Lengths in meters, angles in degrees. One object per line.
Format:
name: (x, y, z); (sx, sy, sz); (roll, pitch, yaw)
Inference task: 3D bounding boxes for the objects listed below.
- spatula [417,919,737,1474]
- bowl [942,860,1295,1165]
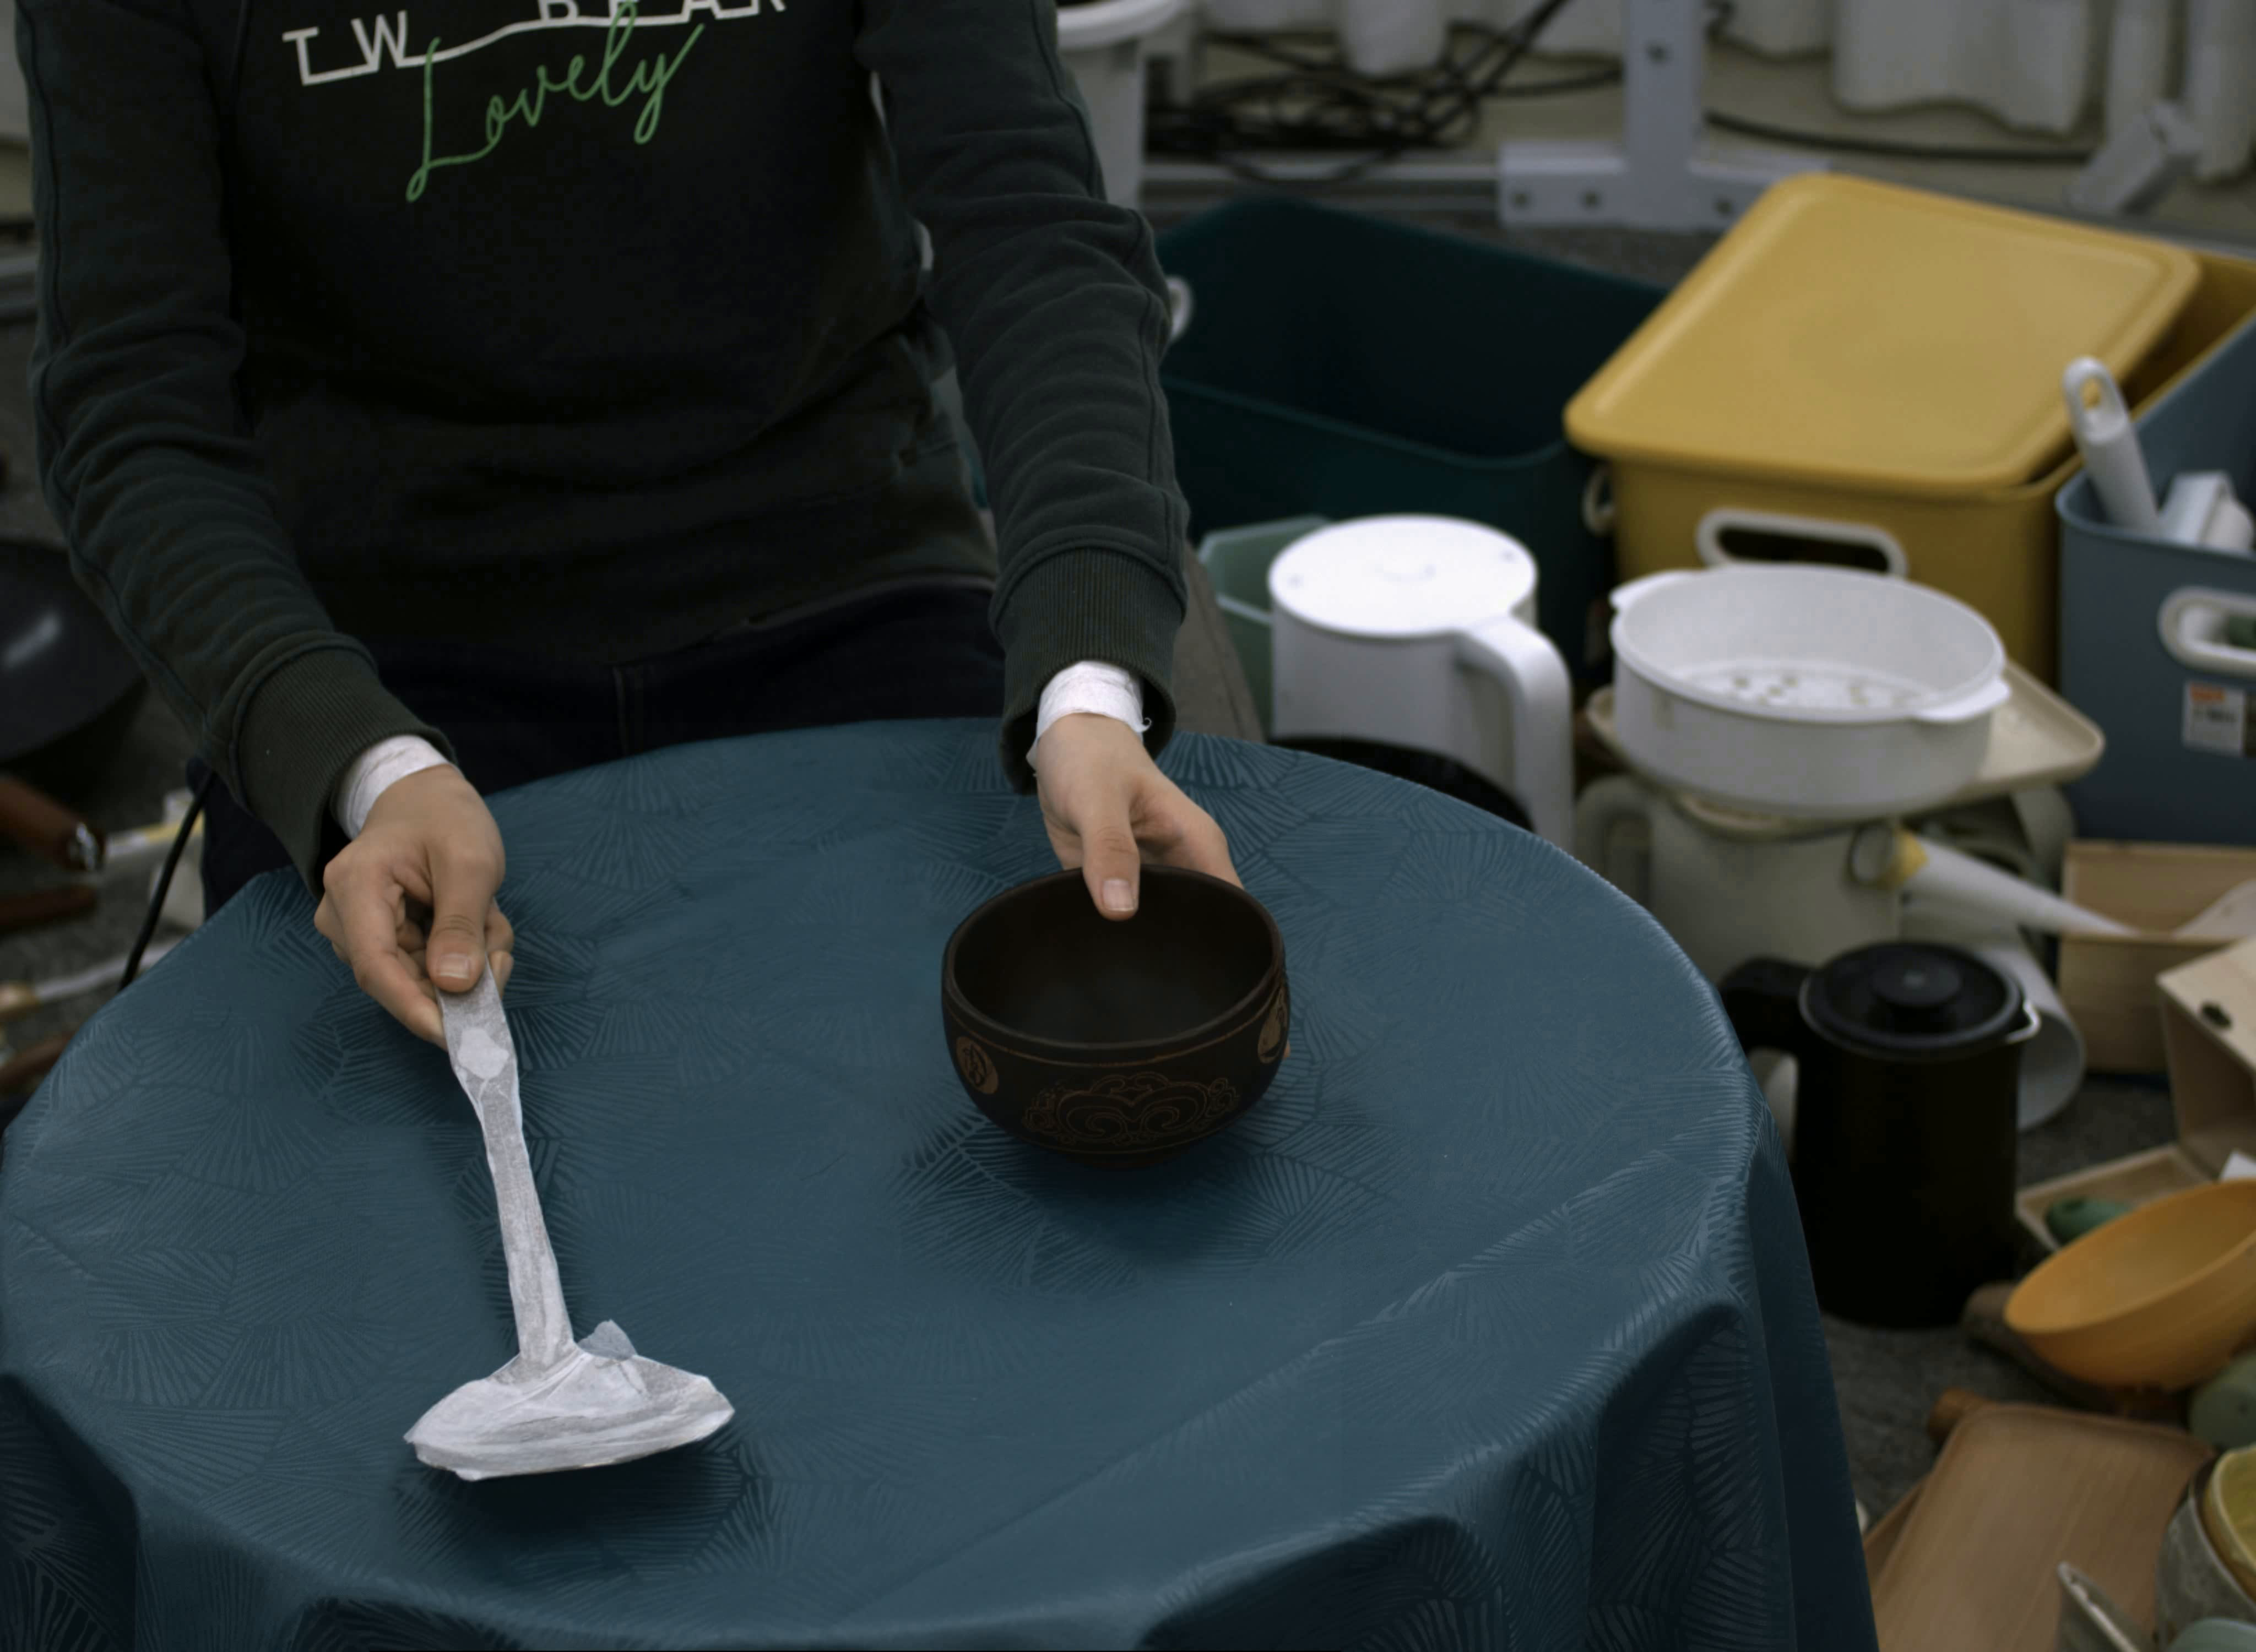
spatula: (-0.198, 0.112, 1.838); (0.098, 0.044, 0.370); (-8, 33, -9)
bowl: (-0.002, 0.070, 1.881); (0.117, 0.069, 0.120); (-2, 29, 1)
